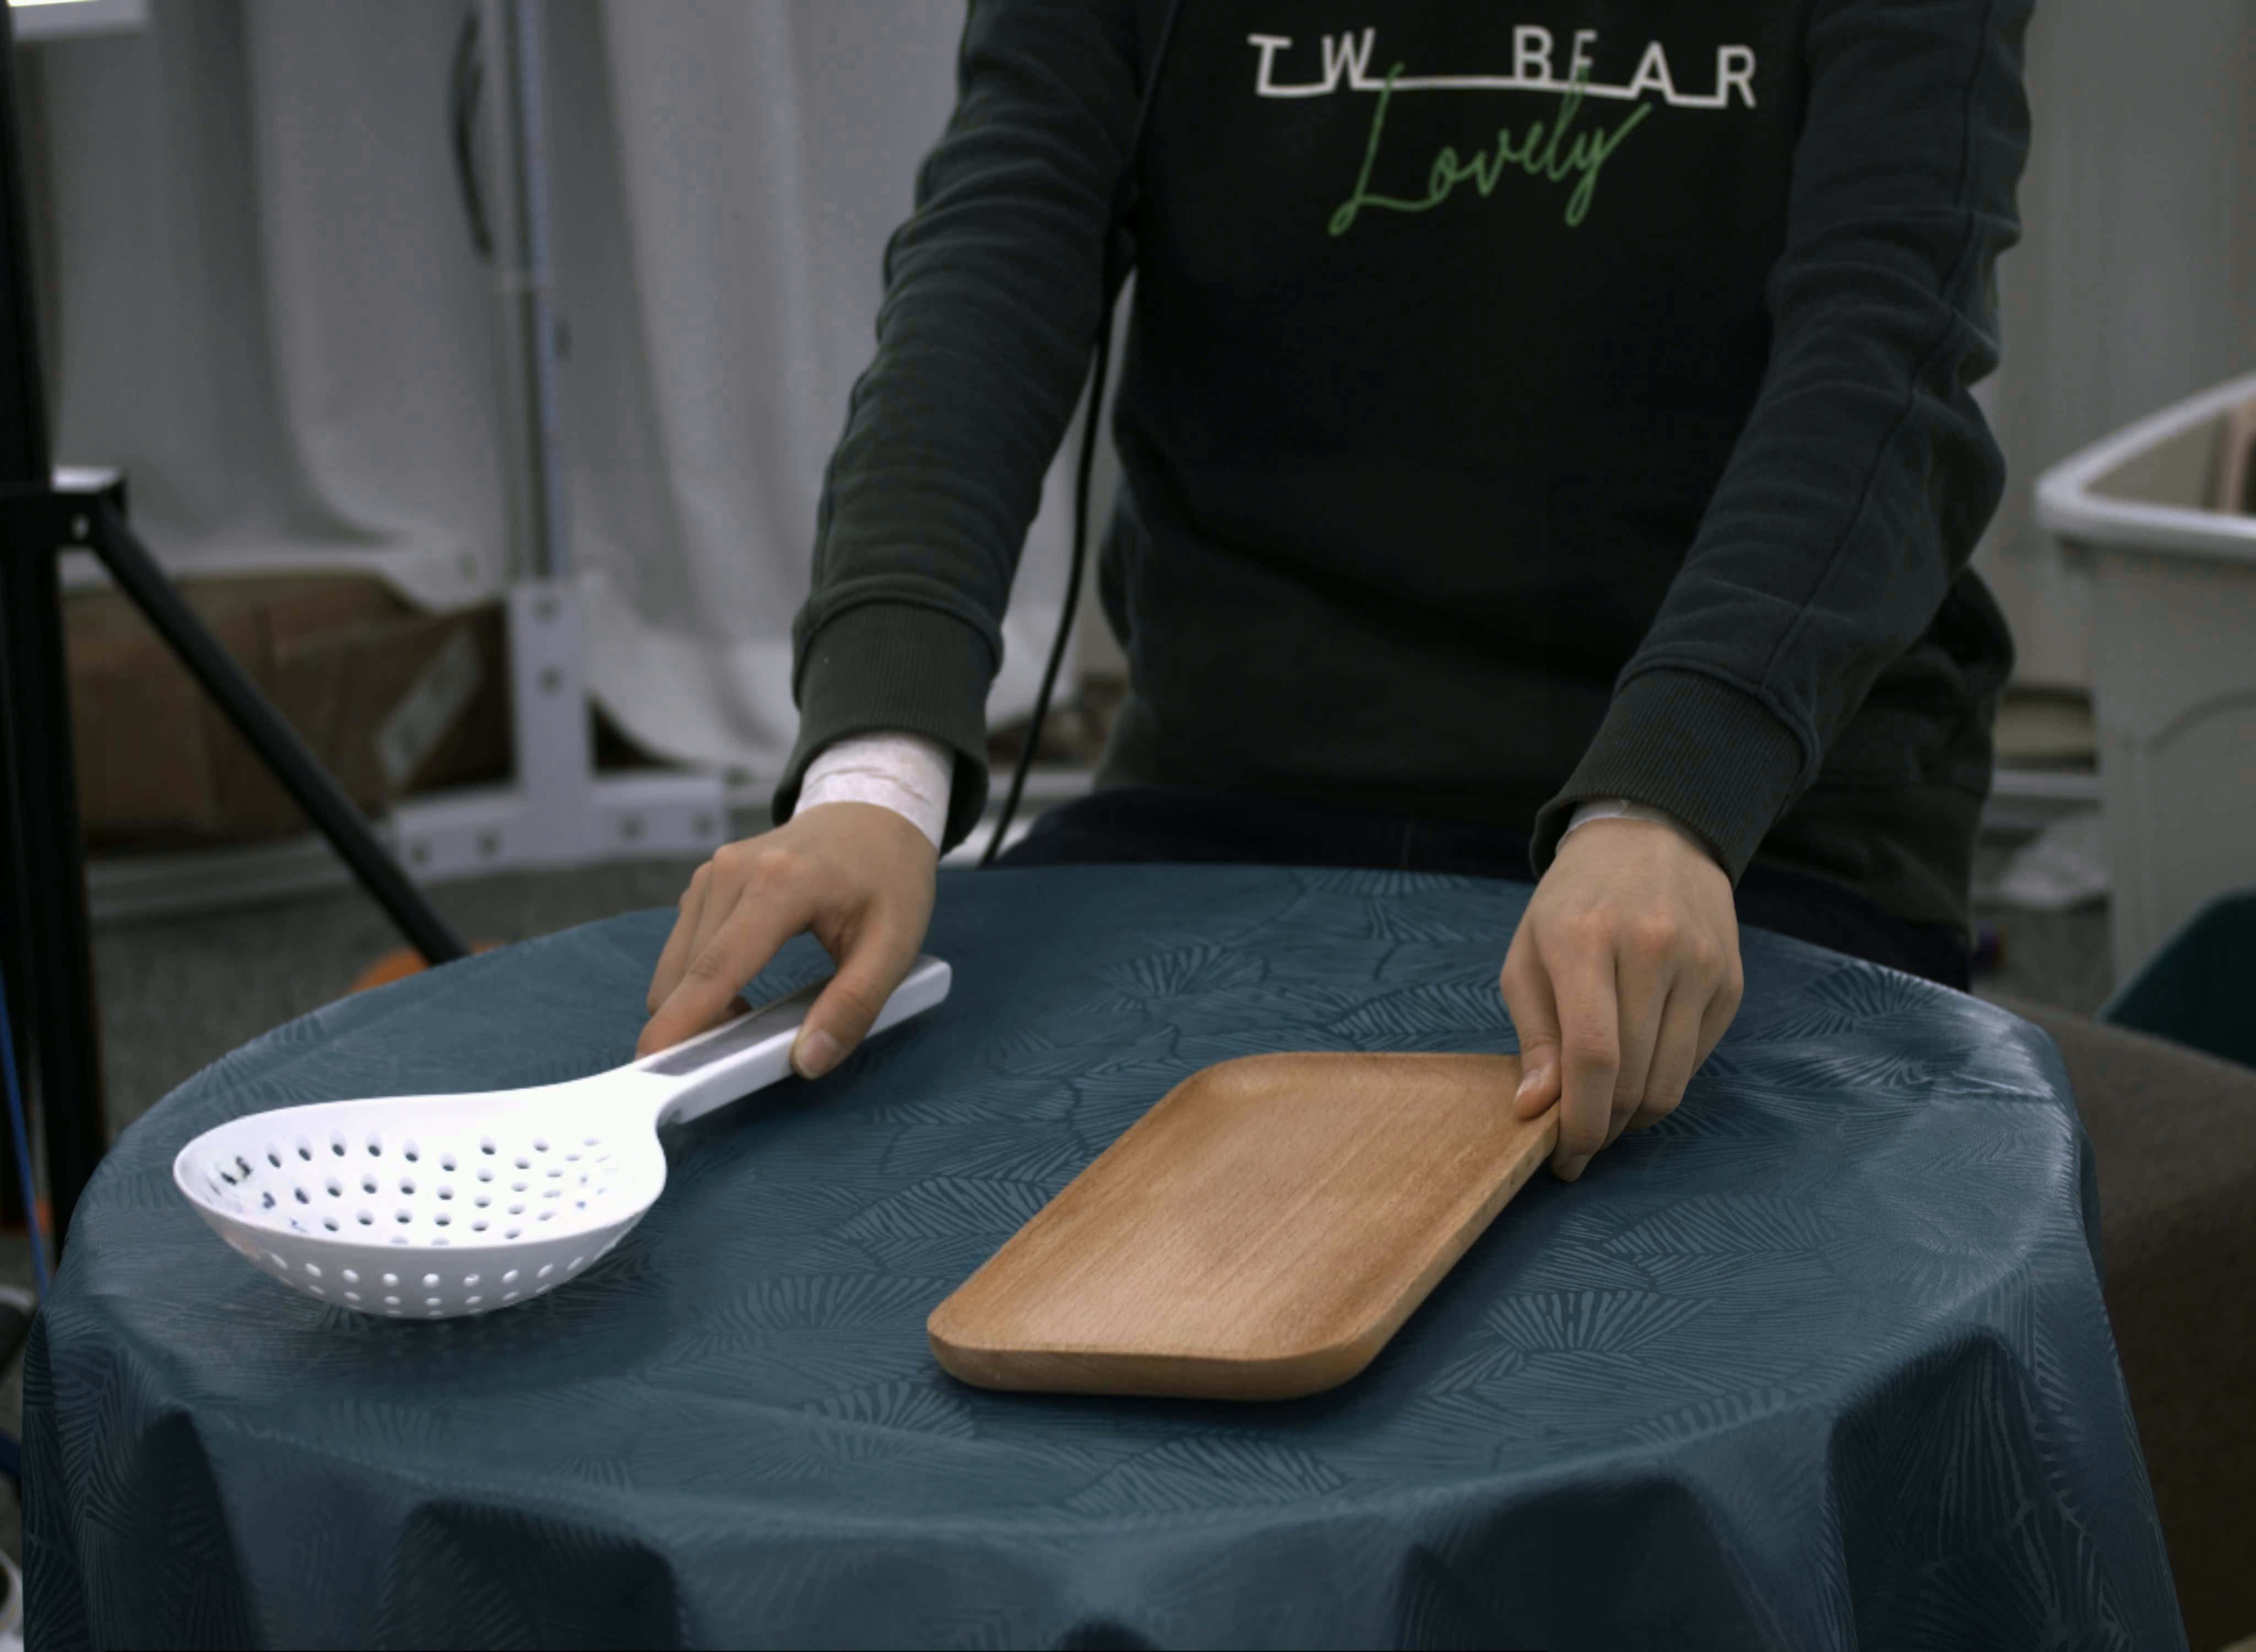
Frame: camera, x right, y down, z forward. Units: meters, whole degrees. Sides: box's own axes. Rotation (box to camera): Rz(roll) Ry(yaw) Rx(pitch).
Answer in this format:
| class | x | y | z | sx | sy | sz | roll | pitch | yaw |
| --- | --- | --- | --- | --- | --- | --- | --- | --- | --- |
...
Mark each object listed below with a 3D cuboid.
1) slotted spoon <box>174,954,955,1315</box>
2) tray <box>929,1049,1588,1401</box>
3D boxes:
| class | x | y | z | sx | sy | sz | roll | pitch | yaw |
| --- | --- | --- | --- | --- | --- | --- | --- | --- | --- |
| slotted spoon | -0.148 | 0.082 | 1.582 | 0.138 | 0.046 | 0.344 | 11 | 21 | 26 |
| tray | 0.042 | 0.110 | 1.496 | 0.132 | 0.023 | 0.247 | 2 | 16 | 22 |
